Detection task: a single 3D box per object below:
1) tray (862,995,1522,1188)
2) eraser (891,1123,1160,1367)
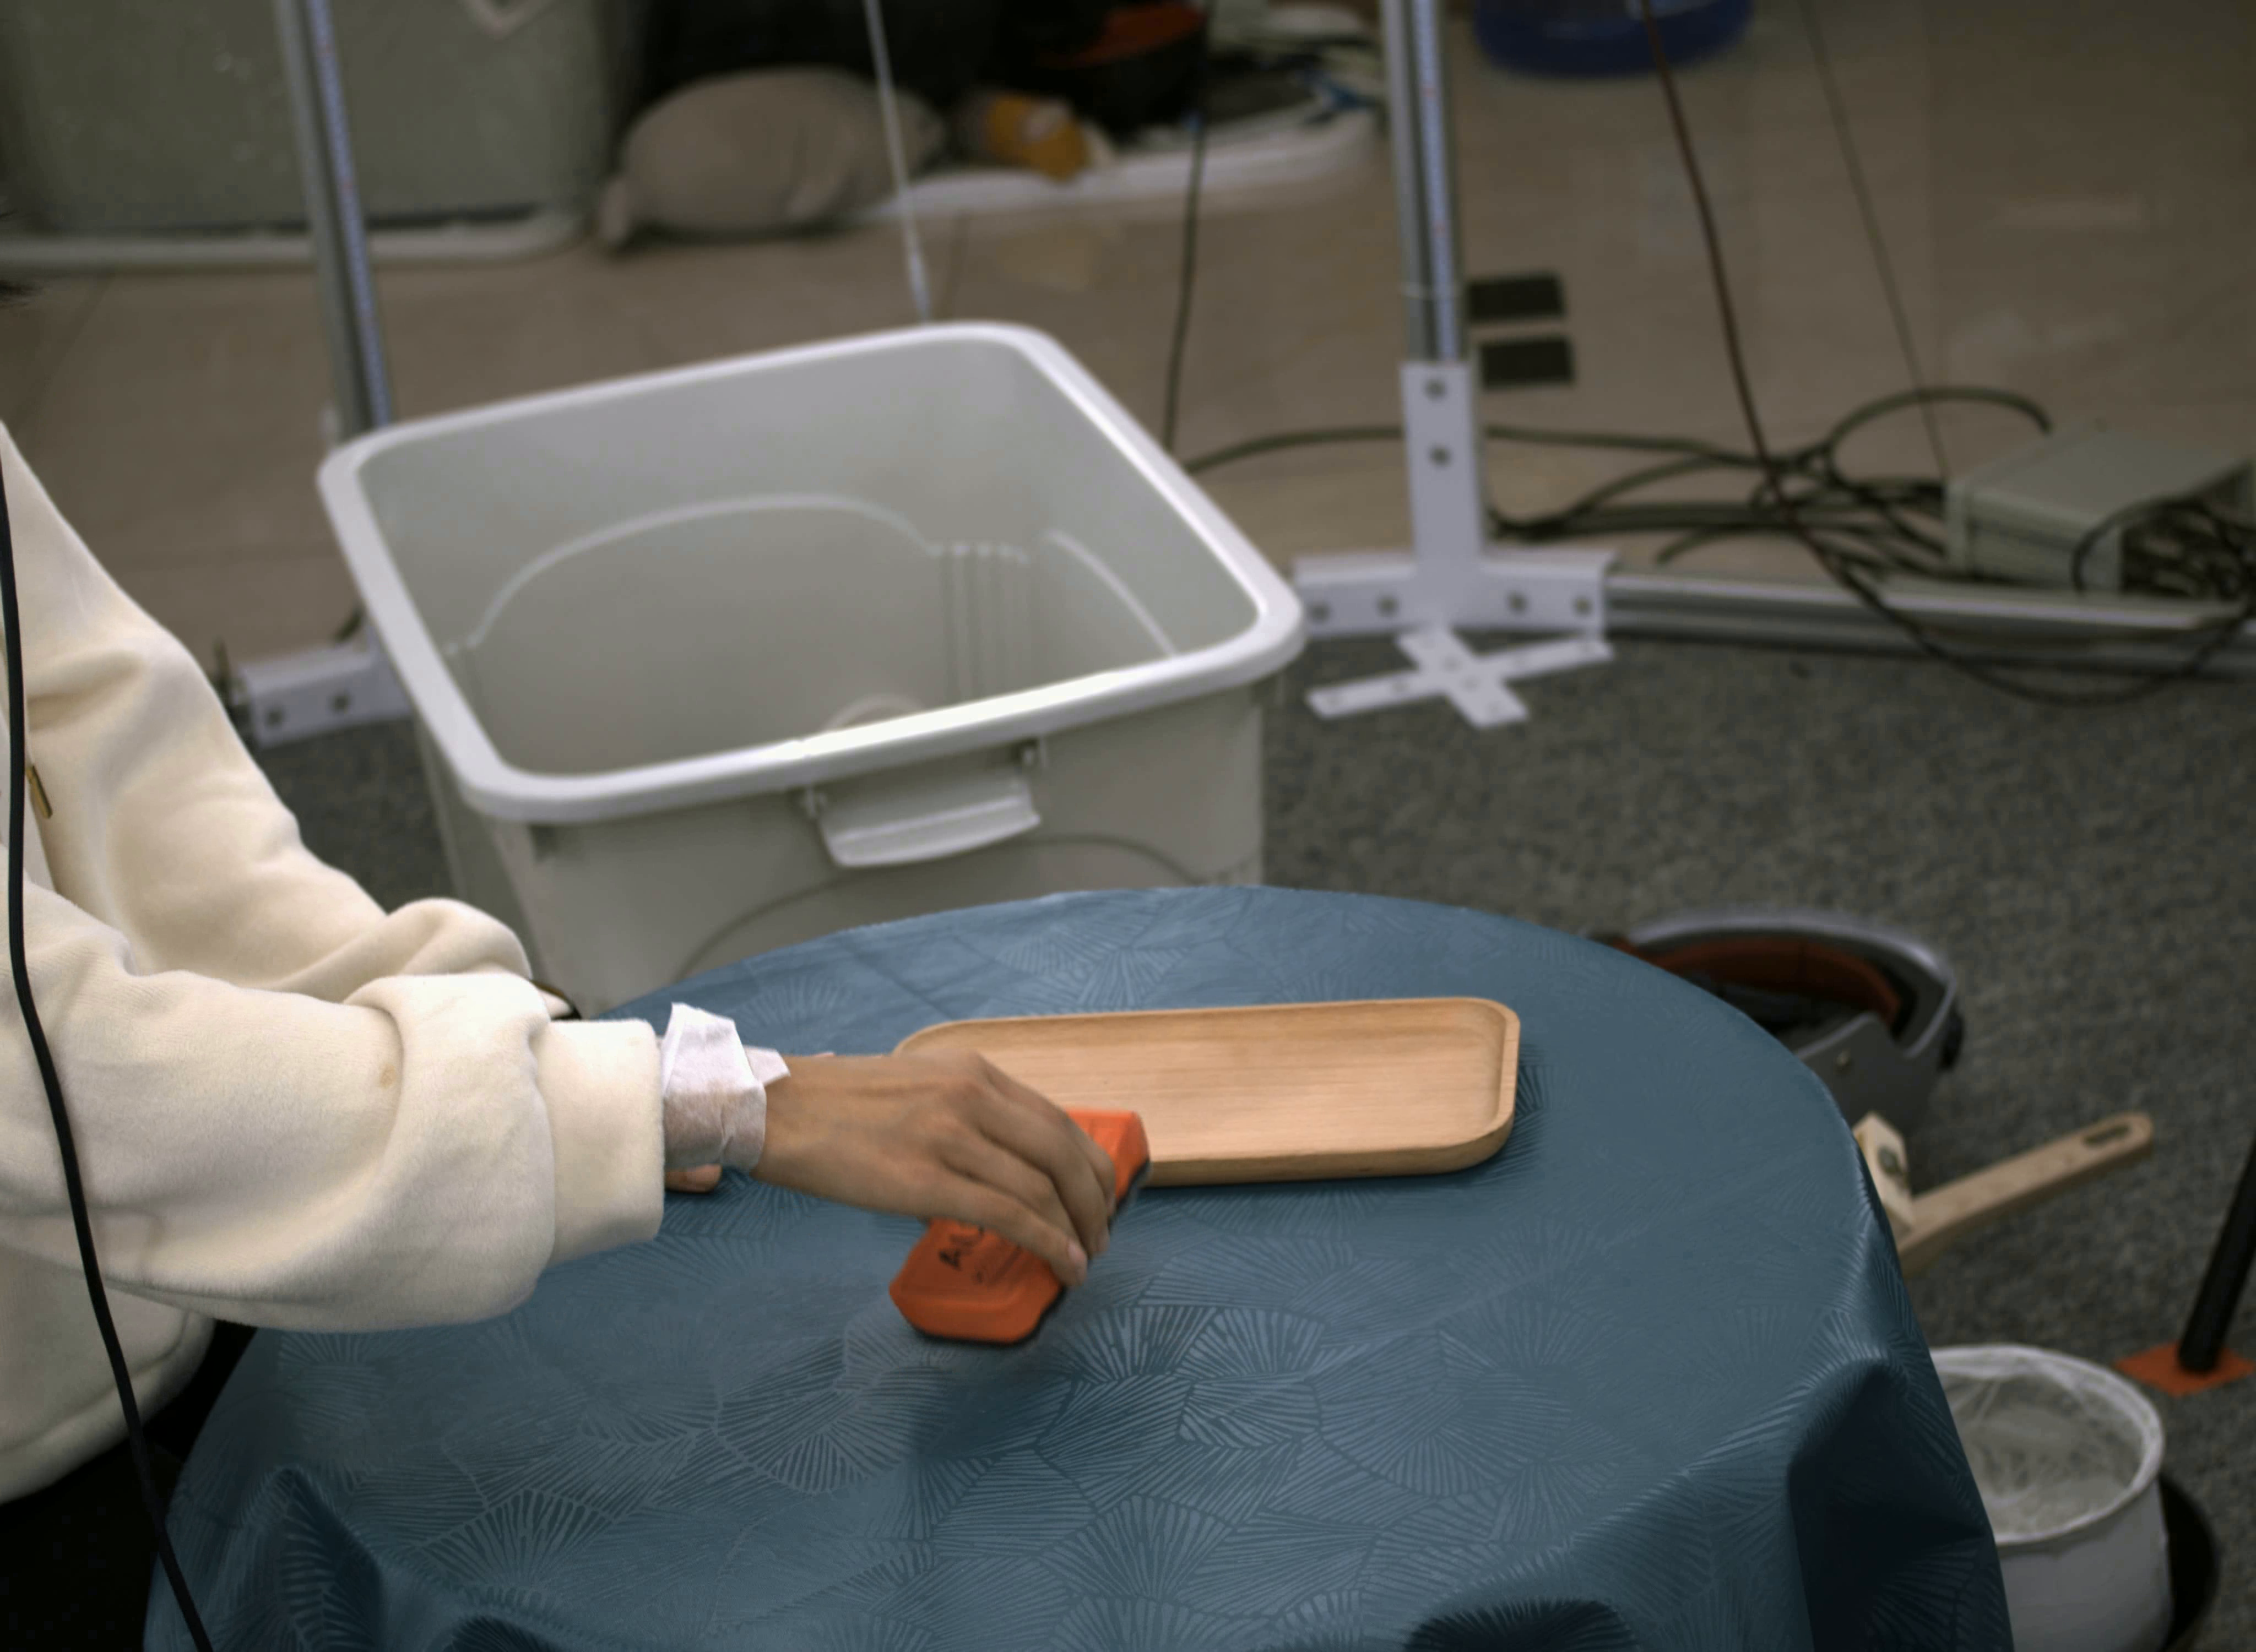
[{"bbox_3d":[0.026,0.103,2.196,0.250,0.023,0.129,-3,22,10],"label":"tray"},{"bbox_3d":[-0.036,0.150,2.043,0.059,0.023,0.106,4,40,34],"label":"eraser"}]
